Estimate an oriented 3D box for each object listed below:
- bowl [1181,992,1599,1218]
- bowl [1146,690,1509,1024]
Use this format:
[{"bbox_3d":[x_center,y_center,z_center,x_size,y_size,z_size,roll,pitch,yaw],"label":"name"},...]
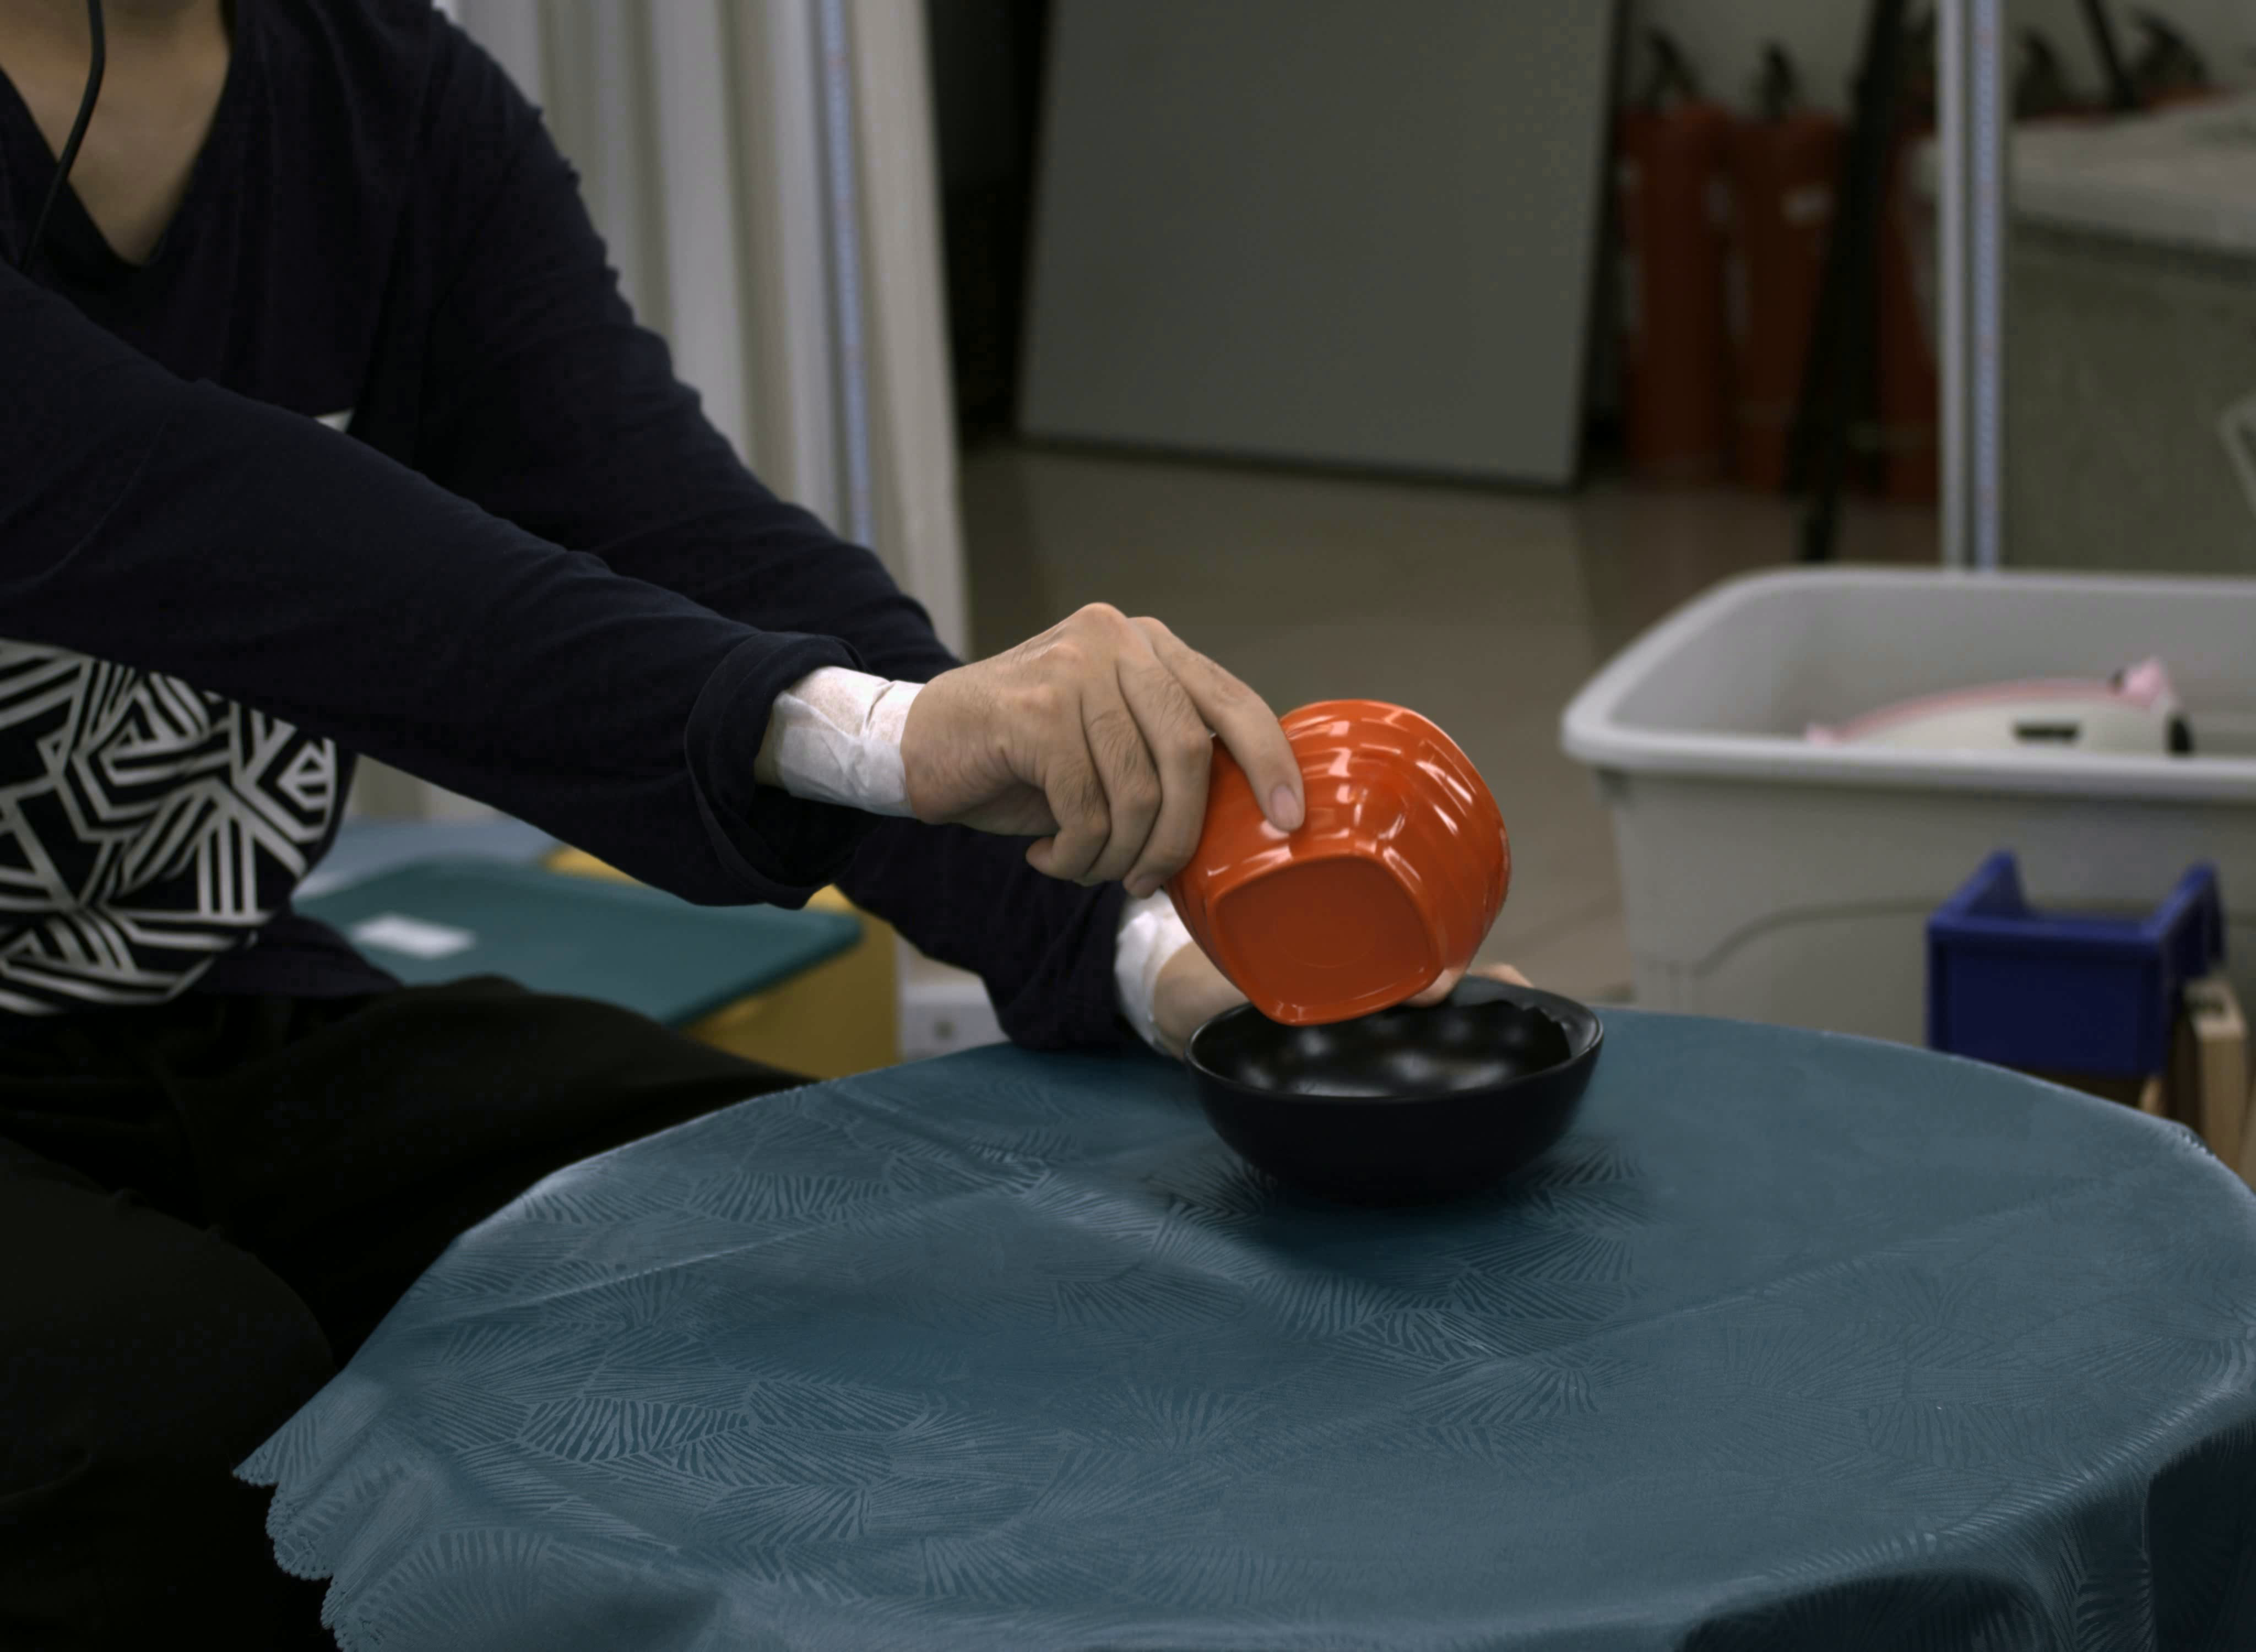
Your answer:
[{"bbox_3d":[0.088,0.095,1.764,0.138,0.050,0.140,-7,11,0],"label":"bowl"},{"bbox_3d":[0.061,0.018,1.673,0.118,0.119,0.051,-1,42,9],"label":"bowl"}]
